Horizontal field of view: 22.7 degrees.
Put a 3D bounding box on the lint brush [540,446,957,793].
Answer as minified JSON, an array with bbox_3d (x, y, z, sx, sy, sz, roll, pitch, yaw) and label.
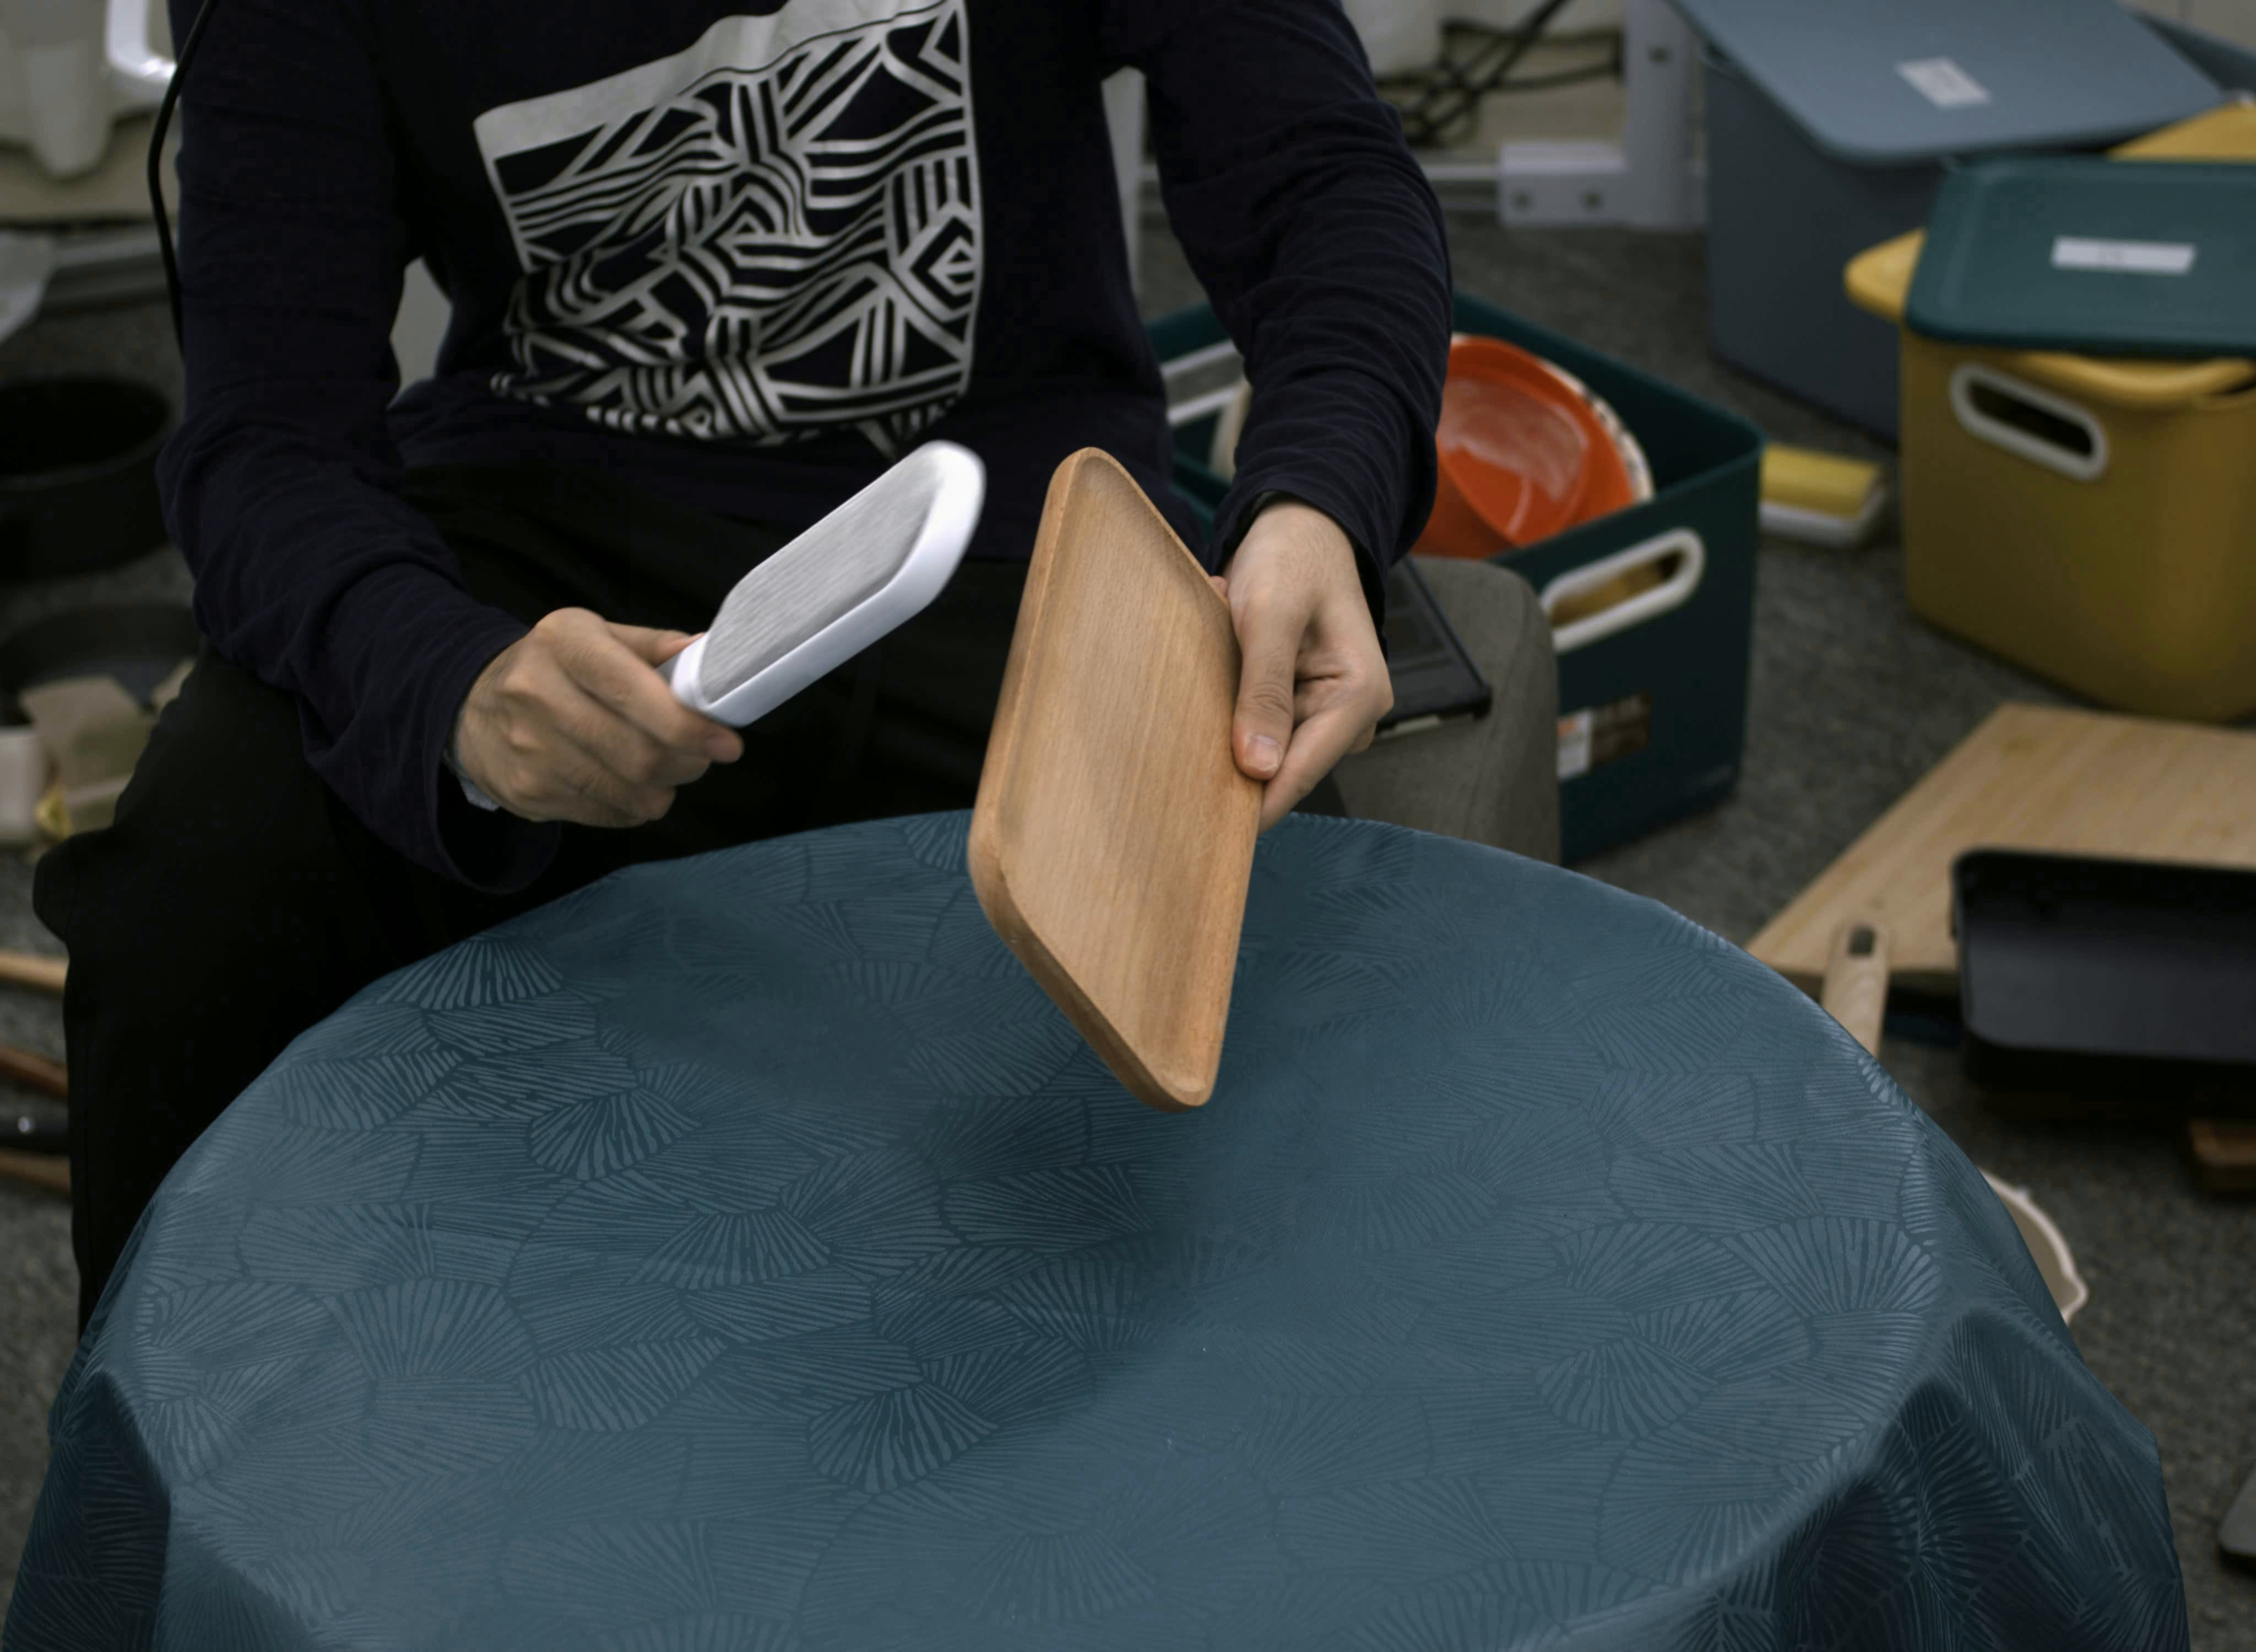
[{"bbox_3d":[-0.131,-0.062,1.884,0.021,0.061,0.304,20,-24,-23],"label":"lint brush"}]

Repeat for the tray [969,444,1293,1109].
[{"bbox_3d":[0.003,-0.019,1.858,0.022,0.129,0.255,-23,28,23],"label":"tray"}]
